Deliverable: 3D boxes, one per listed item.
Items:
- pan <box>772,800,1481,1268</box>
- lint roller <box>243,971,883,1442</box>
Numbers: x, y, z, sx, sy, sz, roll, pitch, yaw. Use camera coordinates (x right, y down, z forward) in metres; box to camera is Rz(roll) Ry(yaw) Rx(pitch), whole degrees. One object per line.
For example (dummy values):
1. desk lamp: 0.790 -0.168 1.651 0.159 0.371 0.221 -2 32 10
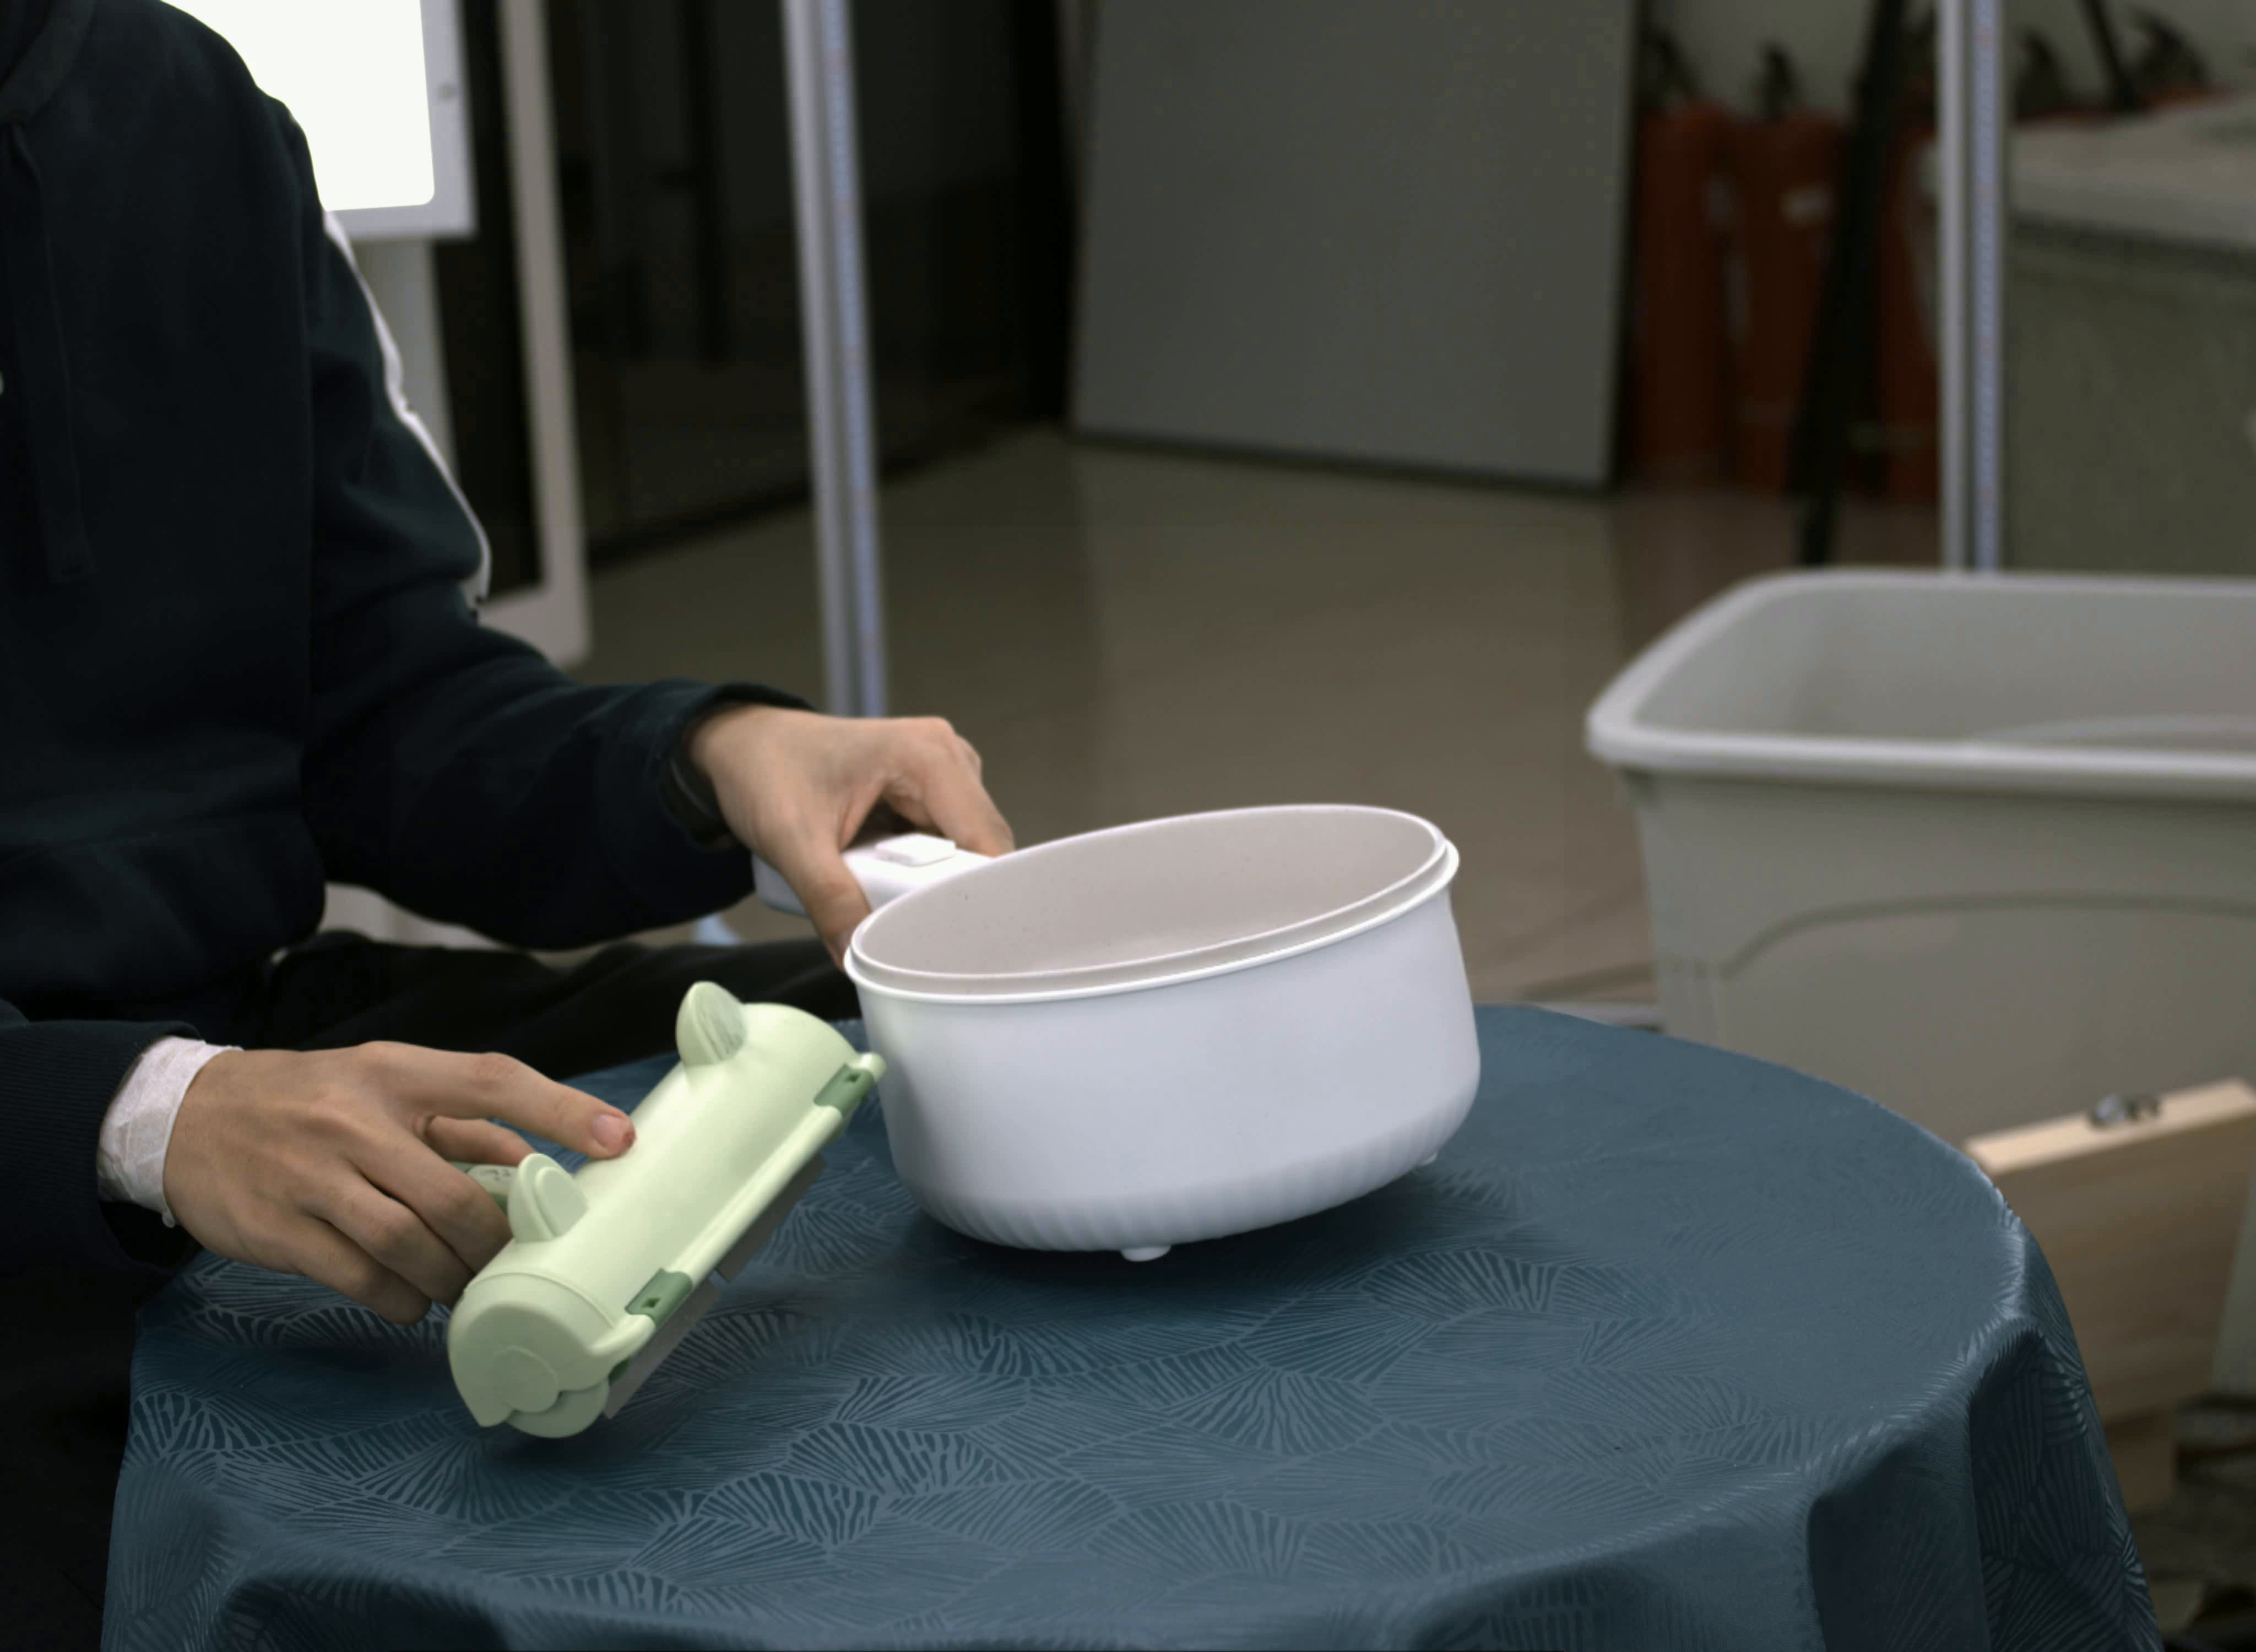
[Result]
1. pan: -0.022 0.063 1.802 0.197 0.103 0.358 -19 13 -26
2. lint roller: -0.192 0.102 1.641 0.183 0.083 0.197 6 27 21
